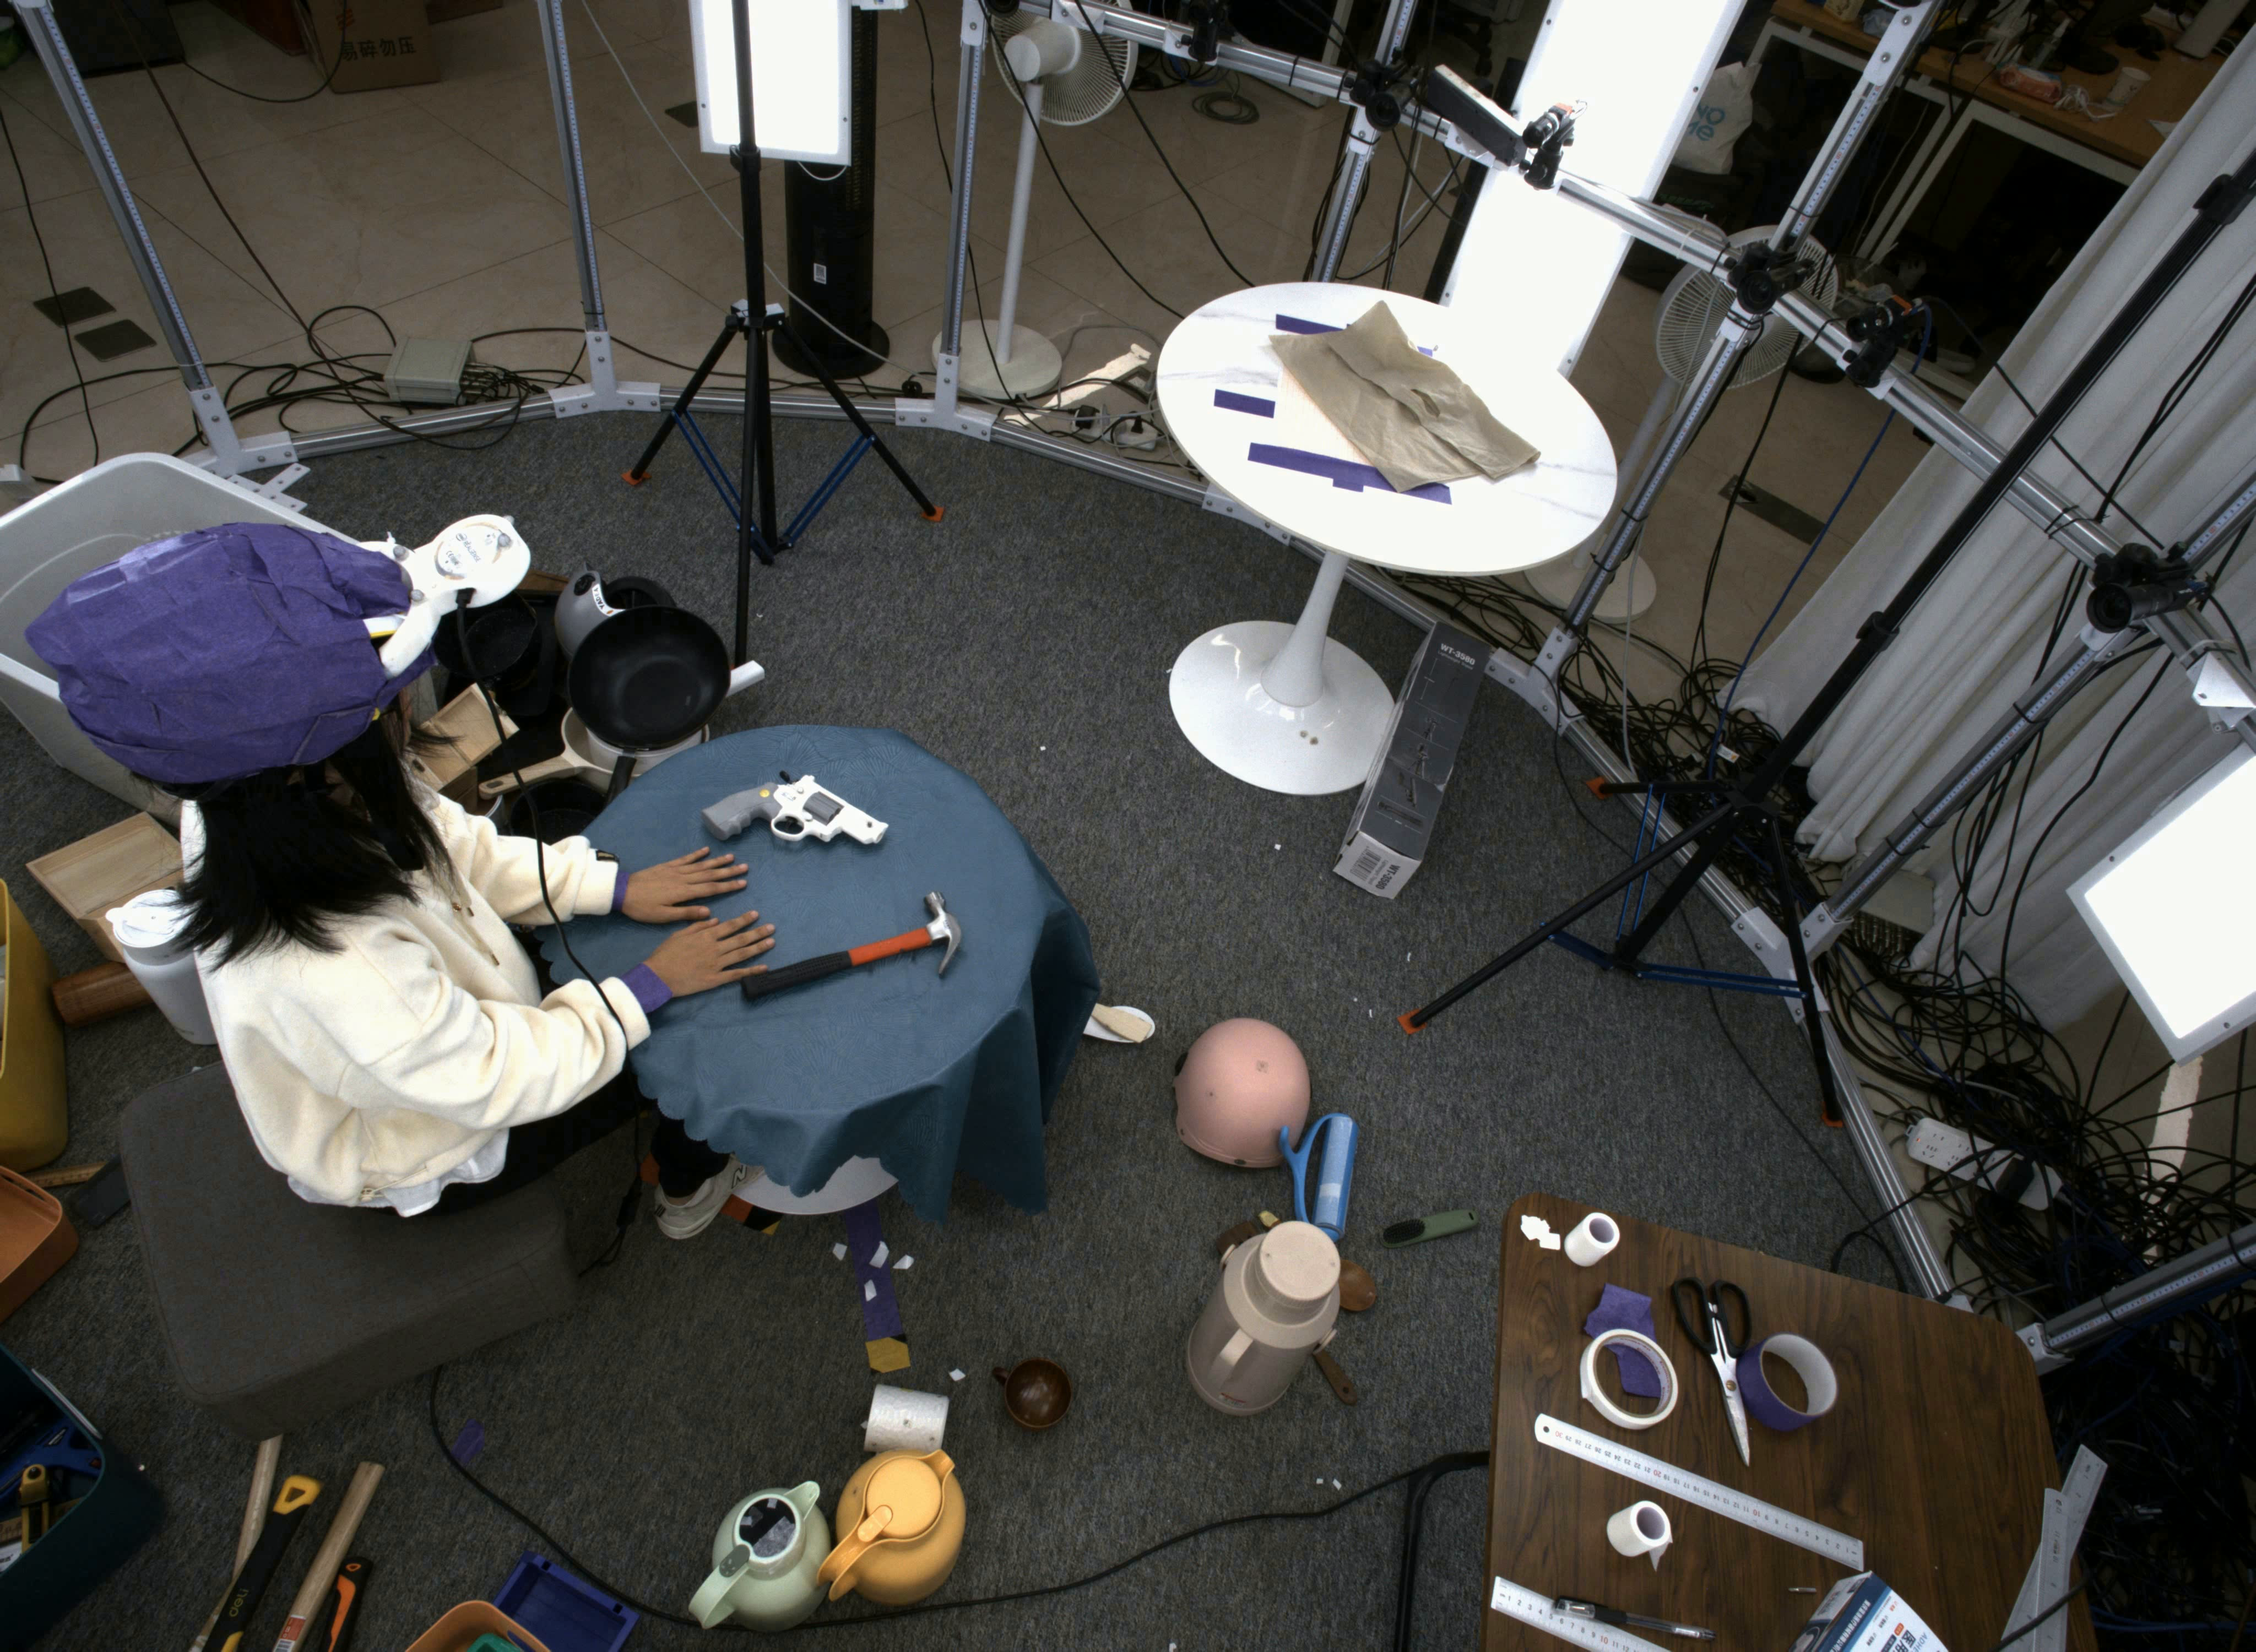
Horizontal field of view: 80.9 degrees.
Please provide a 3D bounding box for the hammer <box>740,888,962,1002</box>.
[{"bbox_3d":[-0.338,0.161,1.603,0.279,0.026,0.109,-16,68,-24],"label":"hammer"}]

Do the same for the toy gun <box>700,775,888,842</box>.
[{"bbox_3d":[-0.438,-0.007,1.695,0.206,0.039,0.141,28,51,6],"label":"toy gun"}]
